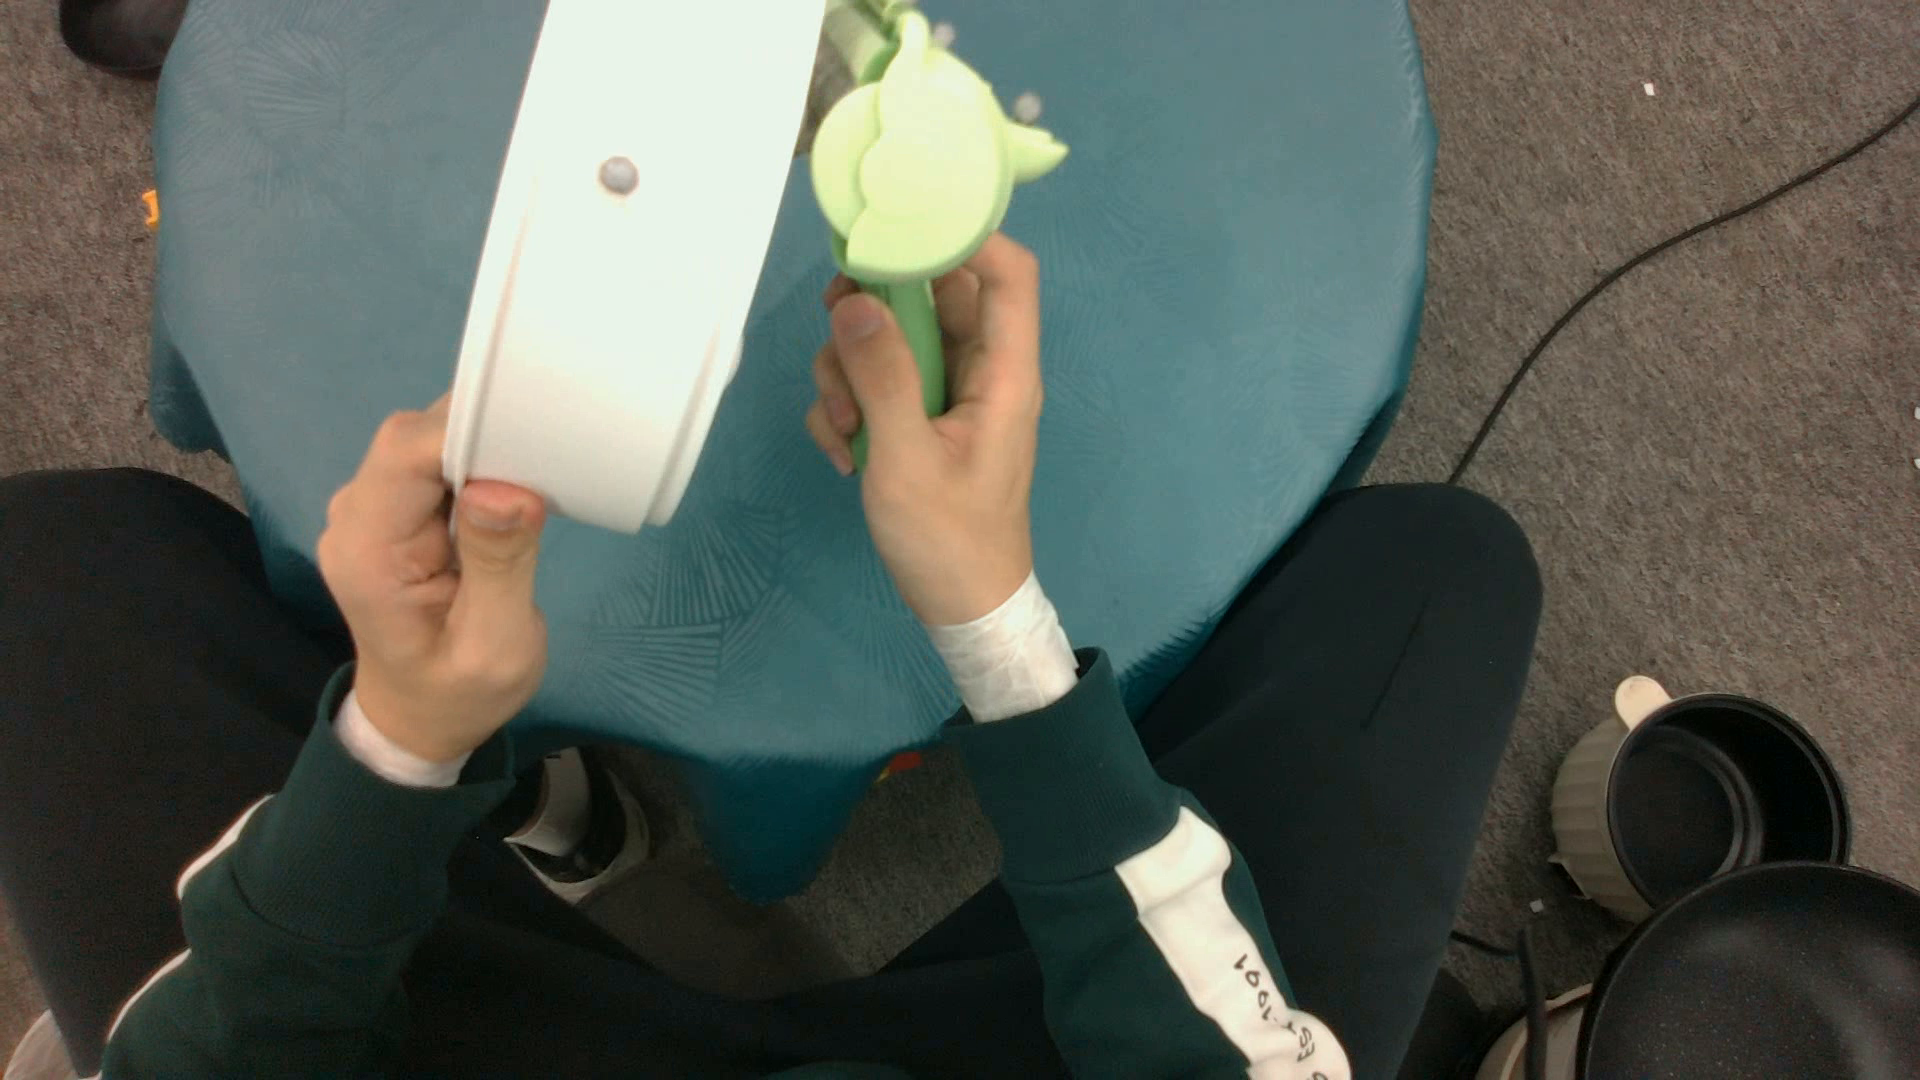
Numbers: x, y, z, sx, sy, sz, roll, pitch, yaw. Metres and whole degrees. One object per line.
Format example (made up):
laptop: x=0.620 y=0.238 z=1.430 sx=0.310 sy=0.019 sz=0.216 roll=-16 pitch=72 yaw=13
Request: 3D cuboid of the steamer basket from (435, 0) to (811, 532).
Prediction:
steamer basket: x=-0.101 y=-0.107 z=0.422 sx=0.069 sy=0.202 sz=0.230 roll=15 pitch=98 yaw=-18

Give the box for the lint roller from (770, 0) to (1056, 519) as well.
lint roller: x=-0.014 y=-0.095 z=0.461 sx=0.082 sy=0.199 sz=0.182 roll=-17 pitch=119 yaw=-4
